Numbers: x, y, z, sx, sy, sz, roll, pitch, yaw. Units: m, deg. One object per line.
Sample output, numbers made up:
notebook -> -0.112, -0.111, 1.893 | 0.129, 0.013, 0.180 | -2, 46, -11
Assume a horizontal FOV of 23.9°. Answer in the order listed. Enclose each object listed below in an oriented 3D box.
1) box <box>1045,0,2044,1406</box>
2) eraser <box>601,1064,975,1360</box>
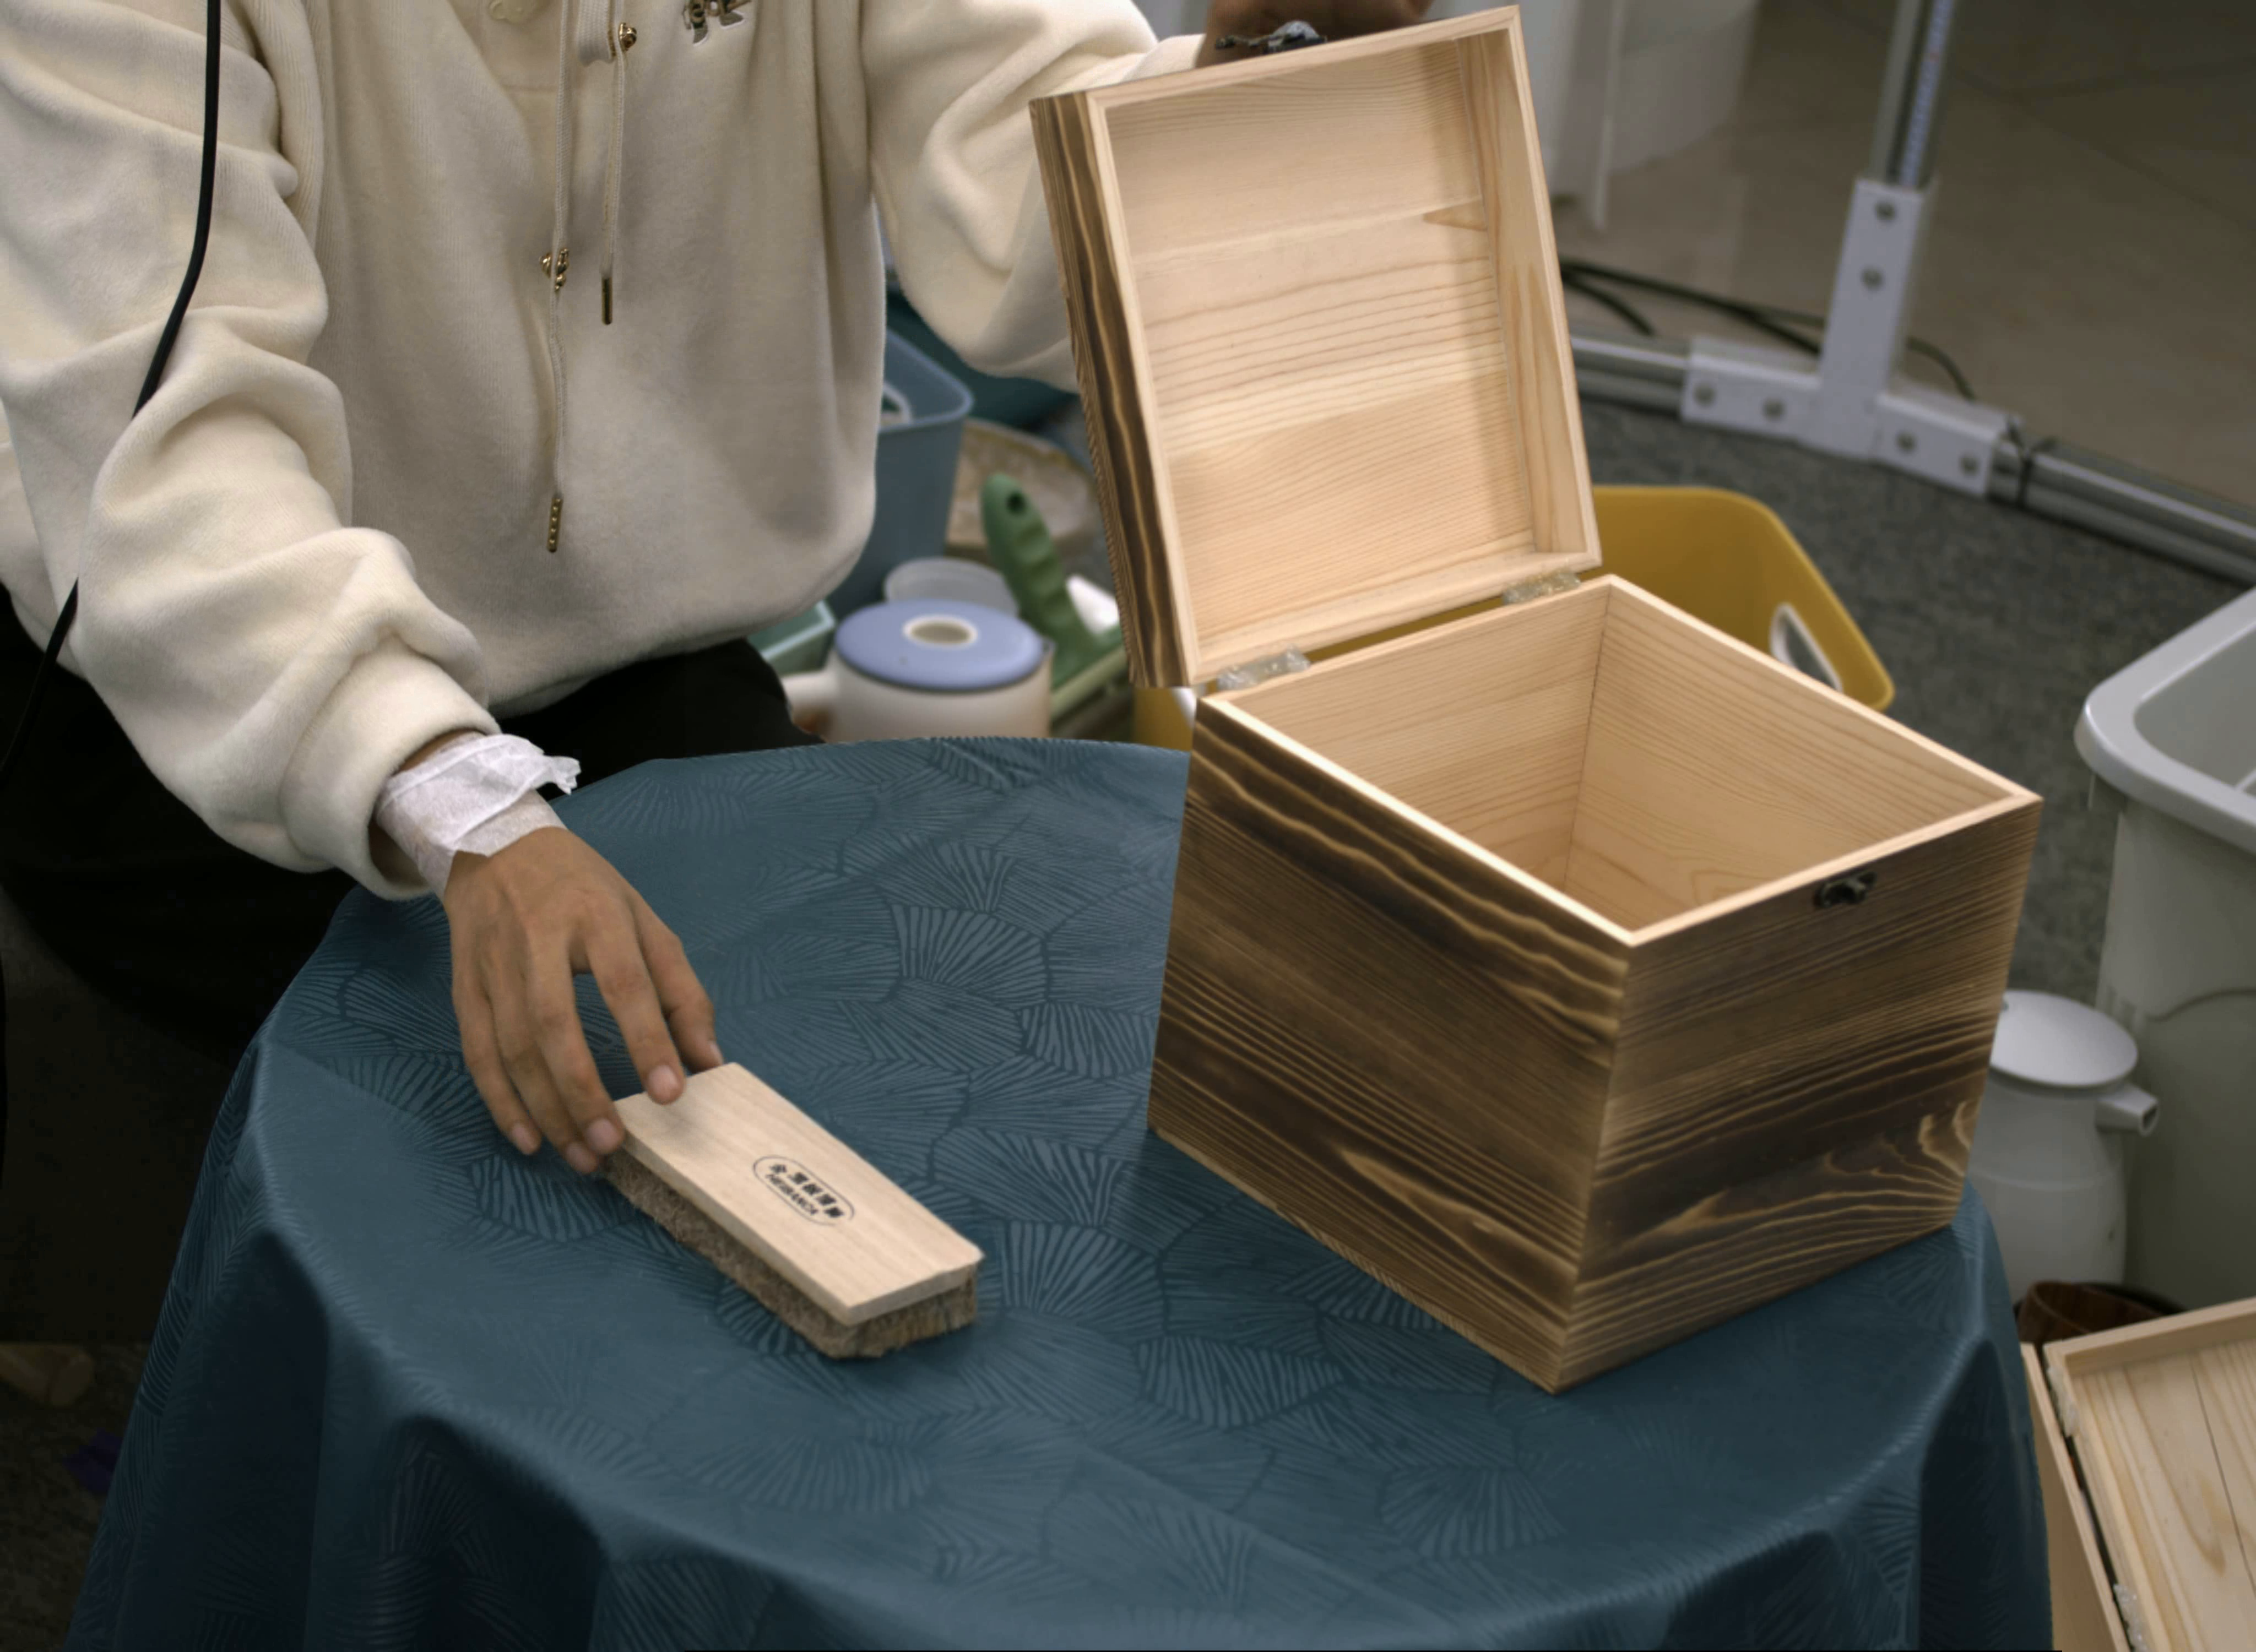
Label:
box -> 0.129, -0.058, 1.789 | 0.207, 0.374, 0.325 | -18, 36, -39
eraser -> -0.112, 0.127, 1.739 | 0.057, 0.029, 0.140 | -17, 34, -34
